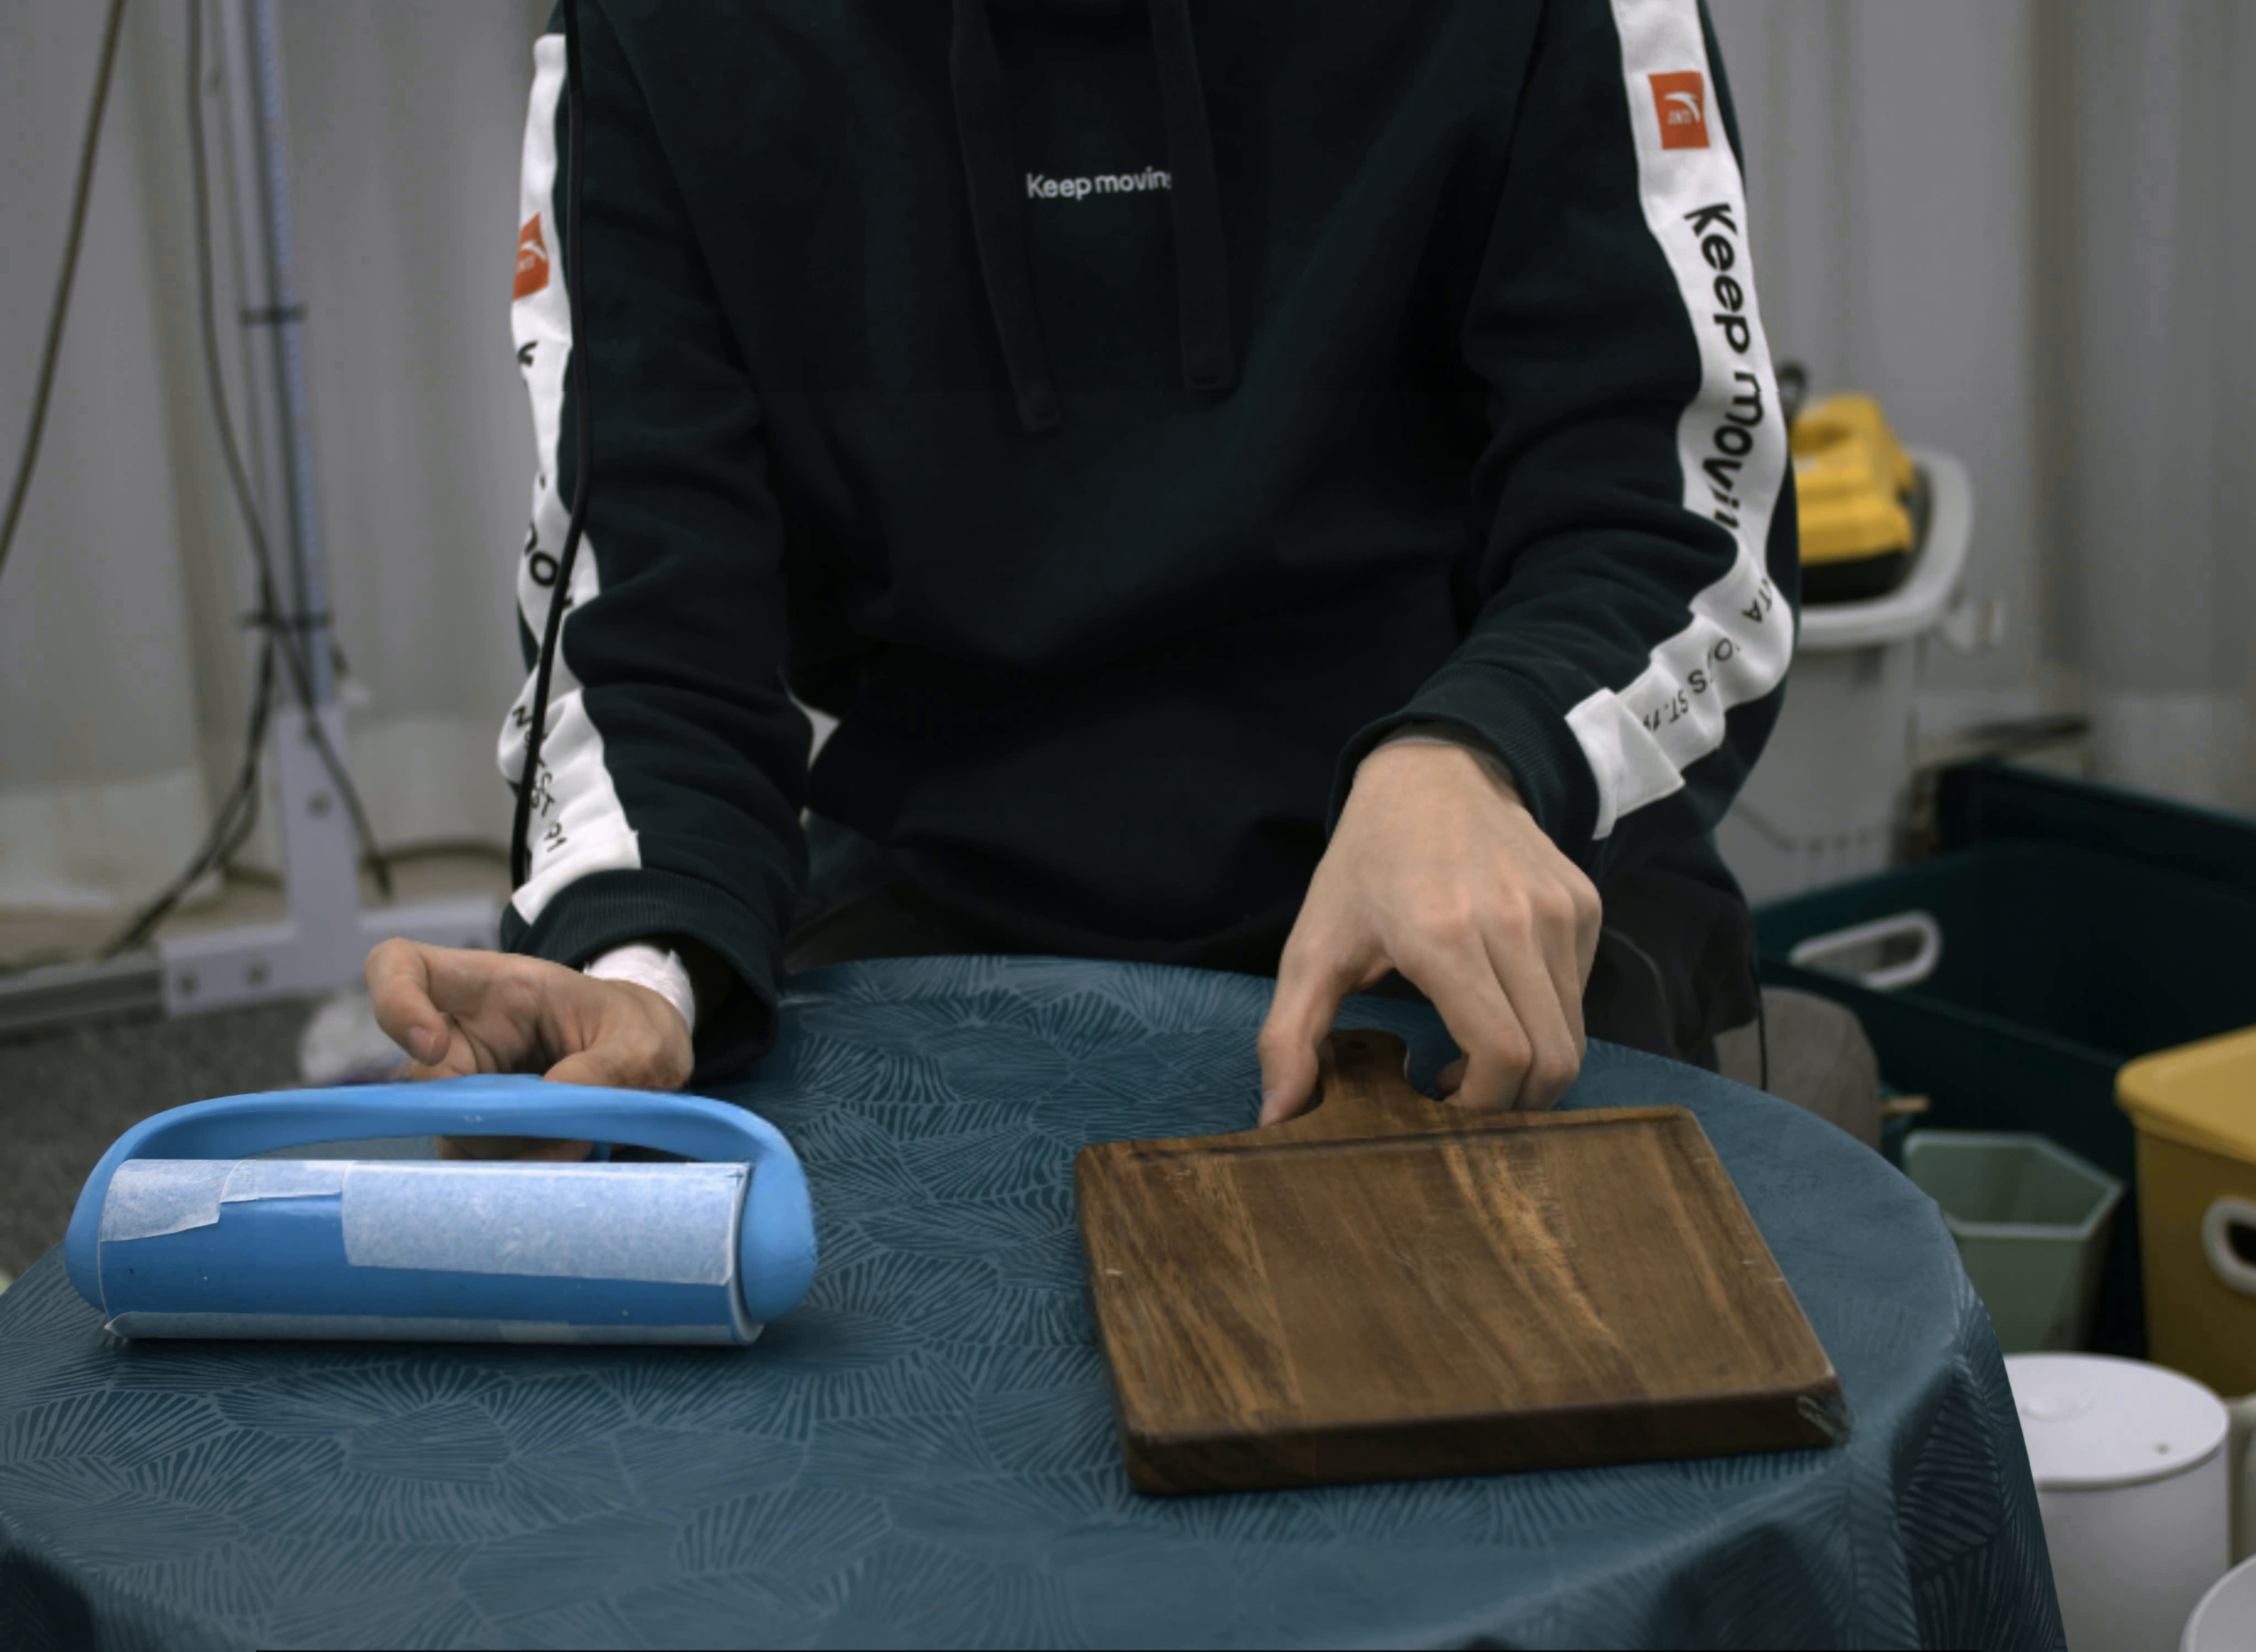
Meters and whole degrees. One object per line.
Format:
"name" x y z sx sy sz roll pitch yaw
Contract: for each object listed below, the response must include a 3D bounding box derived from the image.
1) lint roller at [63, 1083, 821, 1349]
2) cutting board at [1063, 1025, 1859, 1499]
"lint roller" -0.195 0.109 1.666 0.228 0.067 0.181 -3 16 8
"cutting board" 0.085 0.121 1.633 0.200 0.023 0.355 -4 15 -4
